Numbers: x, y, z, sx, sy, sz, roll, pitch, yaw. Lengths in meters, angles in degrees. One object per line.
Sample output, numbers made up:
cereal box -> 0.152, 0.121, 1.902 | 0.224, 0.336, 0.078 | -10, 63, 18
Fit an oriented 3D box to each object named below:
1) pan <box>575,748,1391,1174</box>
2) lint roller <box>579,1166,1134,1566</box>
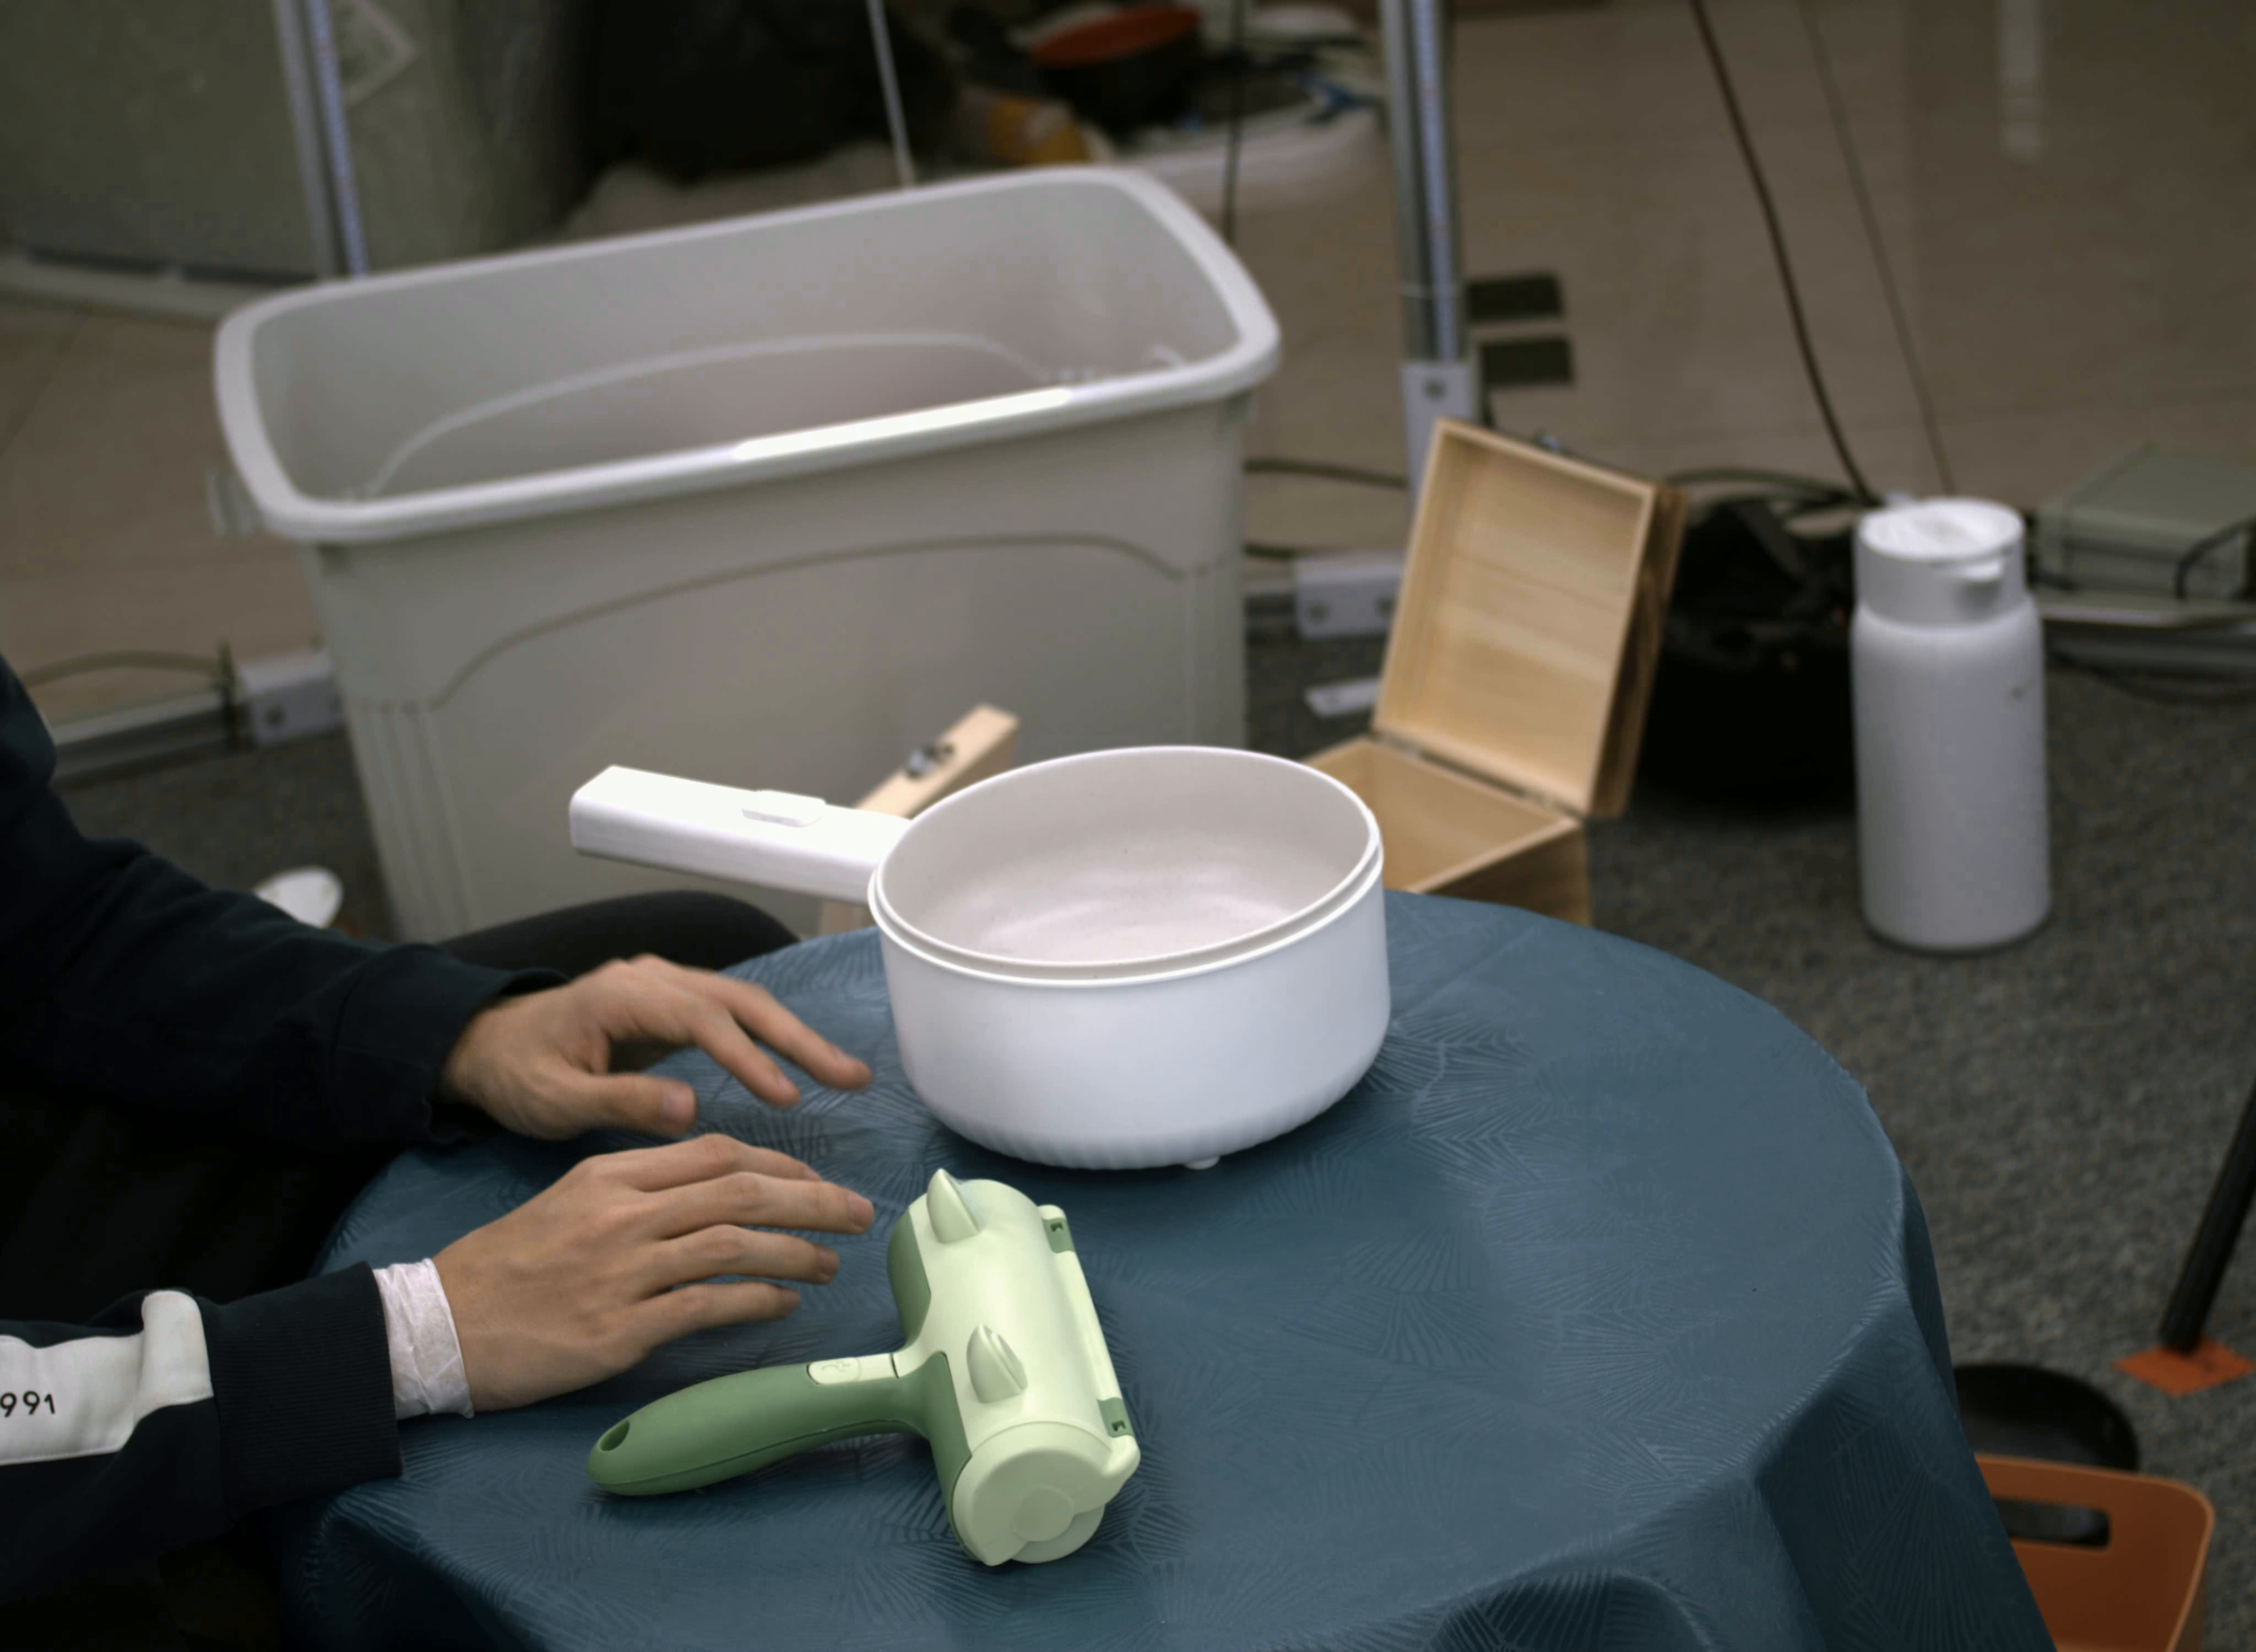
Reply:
pan -> -0.062, 0.047, 2.240 | 0.353, 0.104, 0.199 | 8, 30, 30
lint roller -> -0.101, 0.186, 1.978 | 0.183, 0.083, 0.196 | -4, 25, -8
